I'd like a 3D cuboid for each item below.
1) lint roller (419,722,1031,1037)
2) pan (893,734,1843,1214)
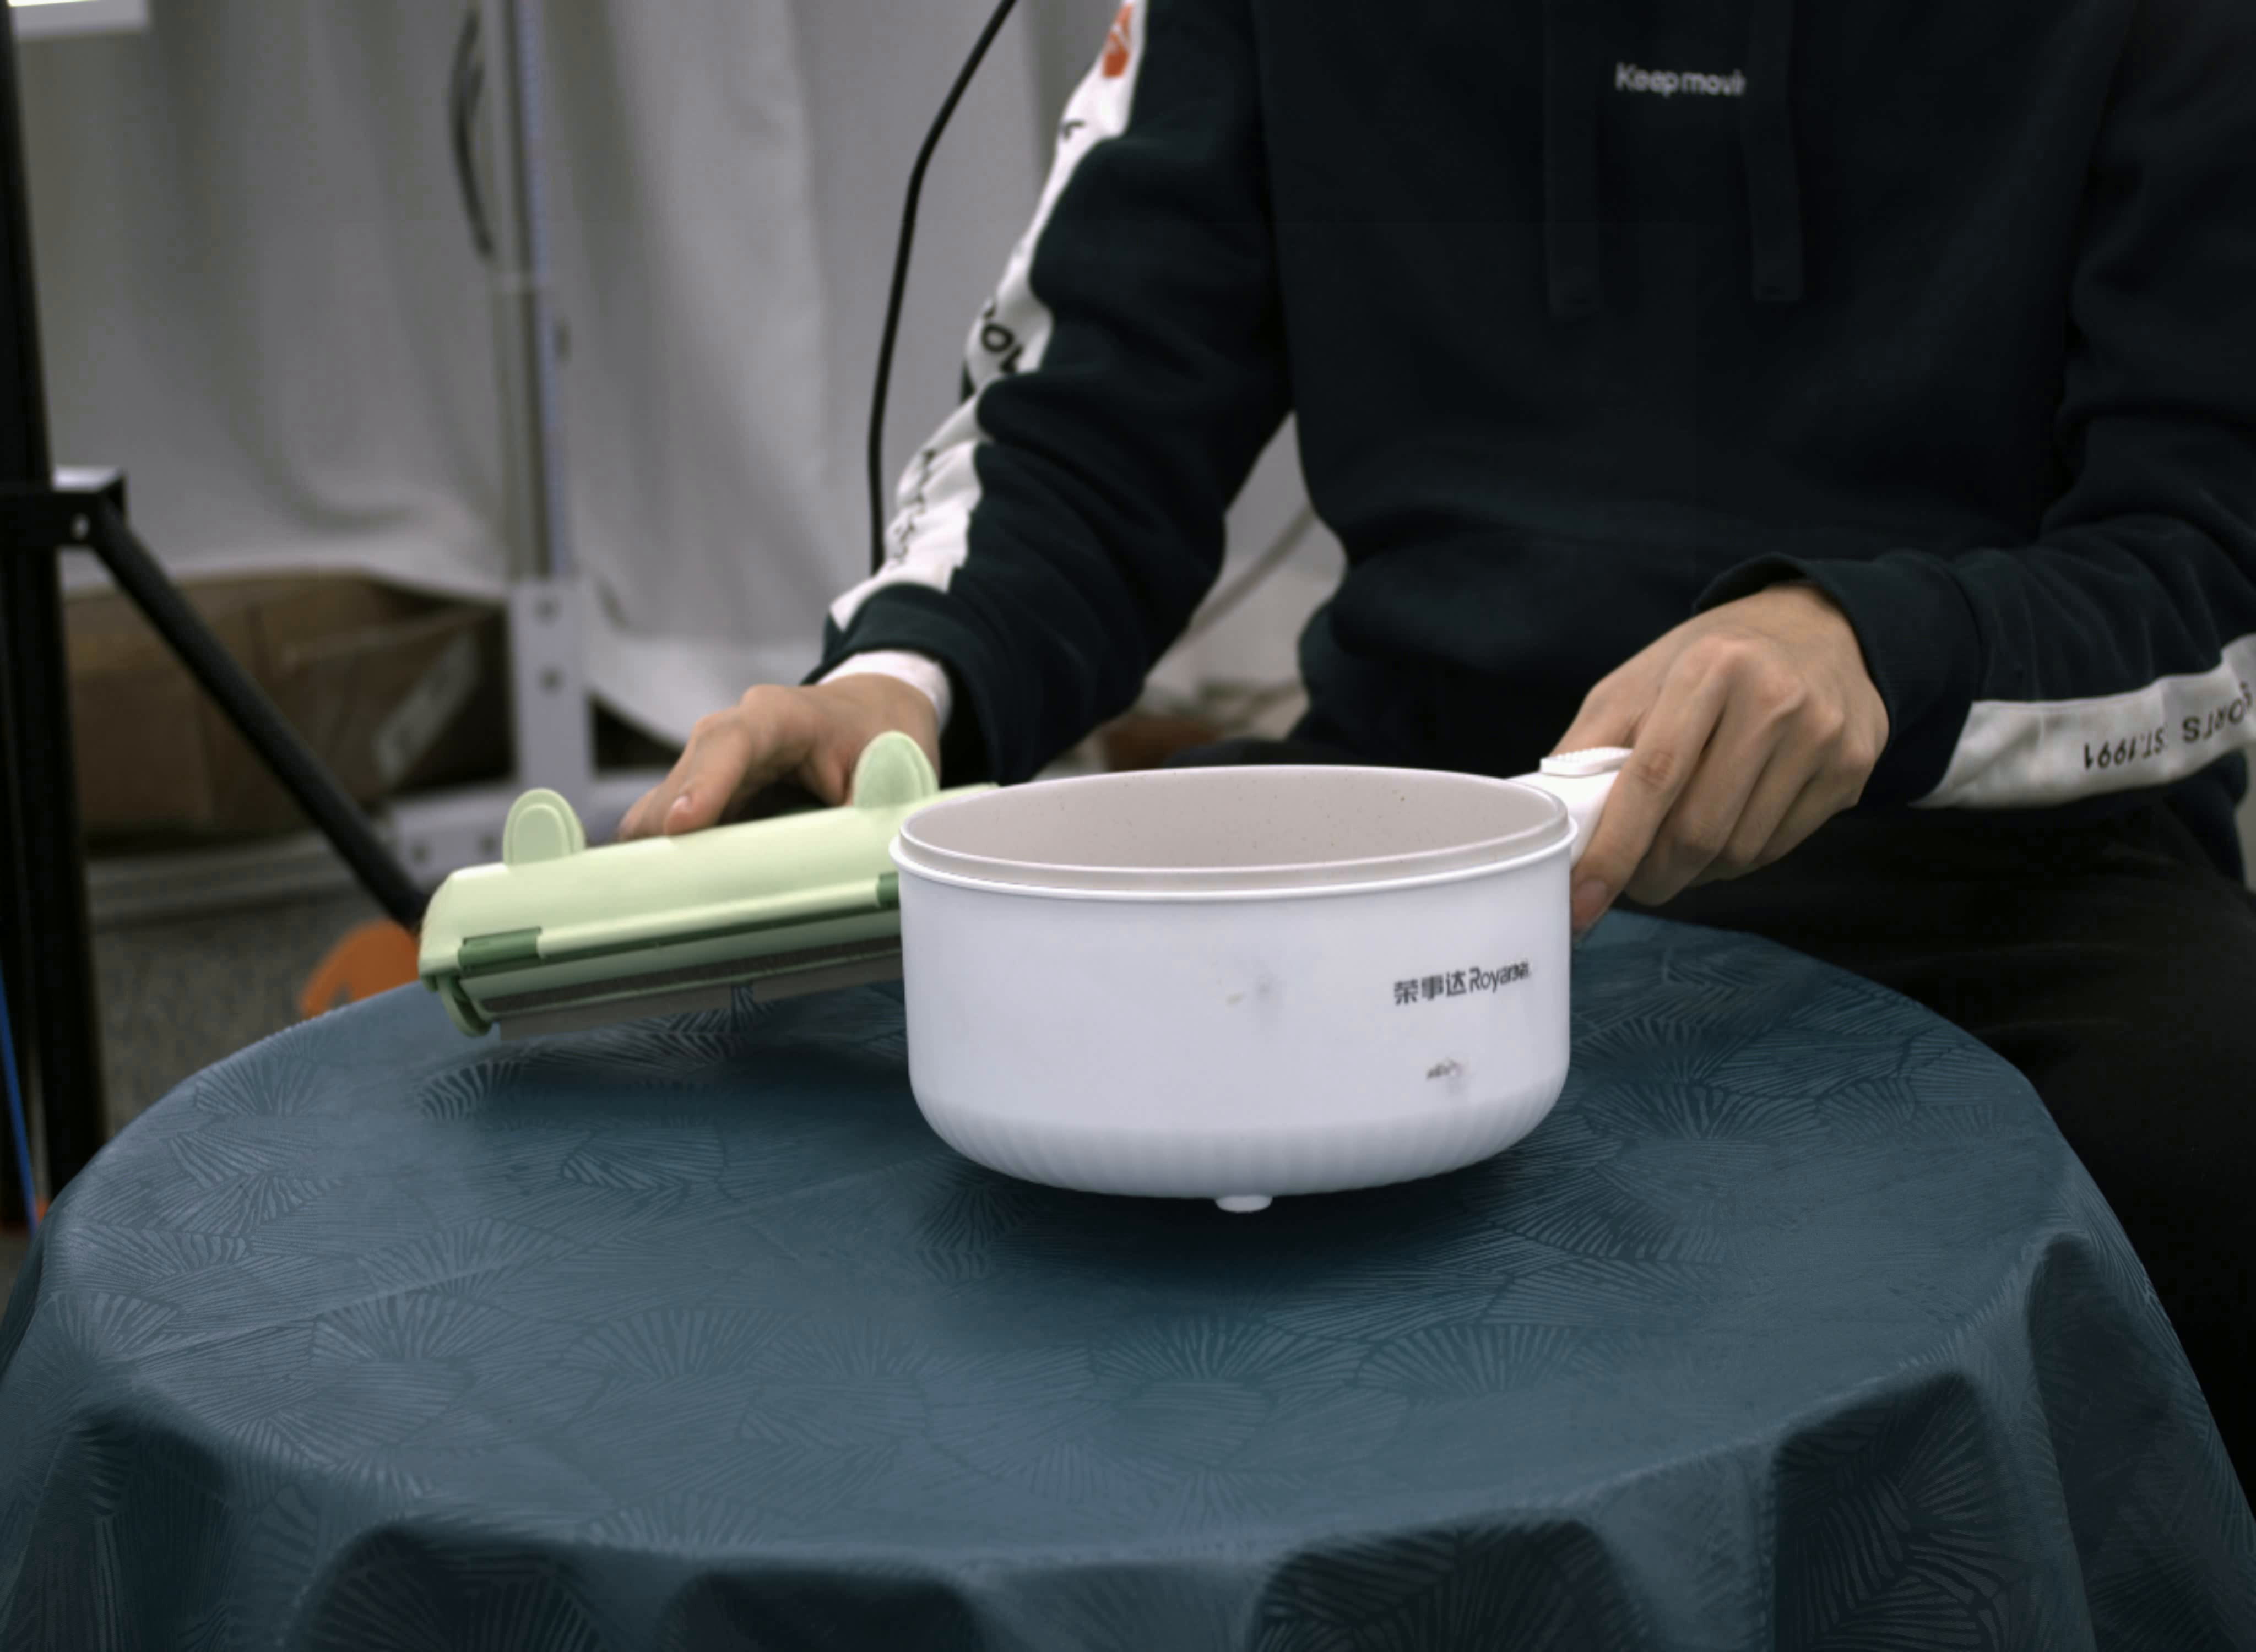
[{"bbox_3d":[-0.118,0.000,1.730,0.200,0.082,0.183,-10,19,13],"label":"lint roller"},{"bbox_3d":[0.088,0.039,1.600,0.346,0.102,0.205,-9,9,-42],"label":"pan"}]
